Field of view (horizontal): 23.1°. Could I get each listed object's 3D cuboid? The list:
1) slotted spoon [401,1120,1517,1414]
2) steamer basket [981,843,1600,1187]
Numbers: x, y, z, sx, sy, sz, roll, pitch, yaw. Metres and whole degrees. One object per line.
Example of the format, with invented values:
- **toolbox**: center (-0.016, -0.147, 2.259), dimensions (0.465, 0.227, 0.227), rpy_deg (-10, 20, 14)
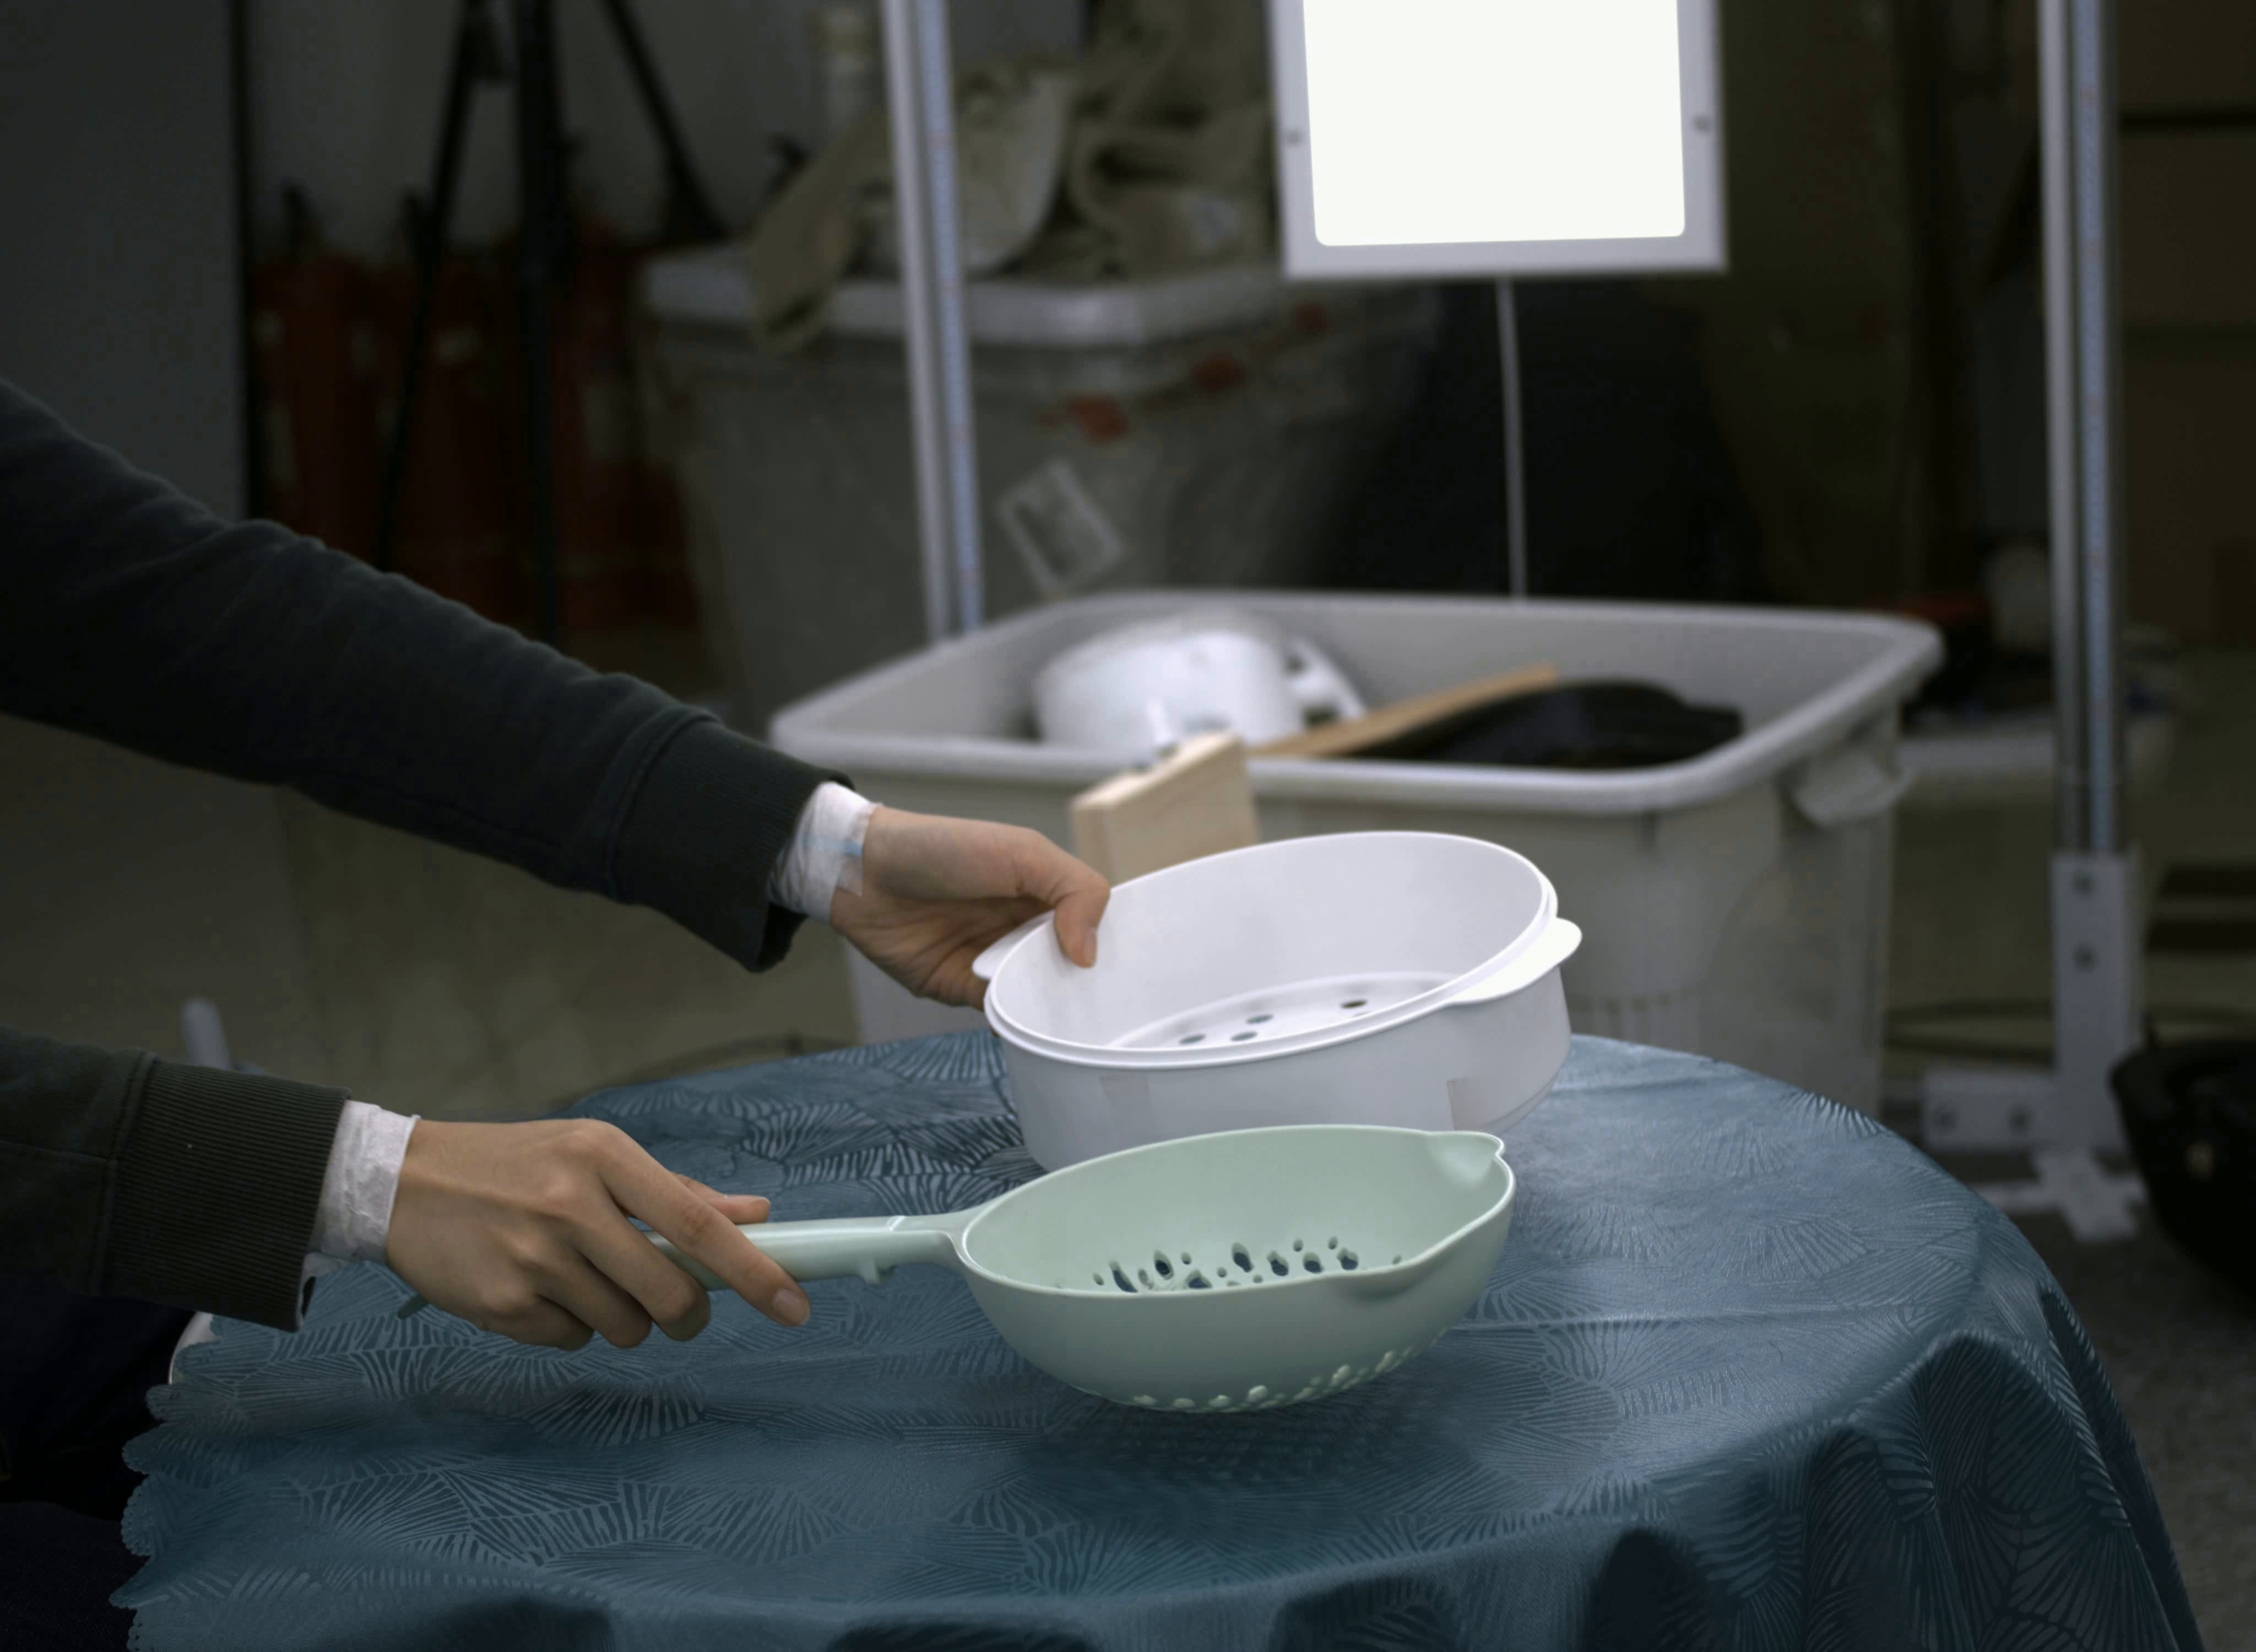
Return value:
- **slotted spoon**: center (-0.058, 0.133, 1.696), dimensions (0.362, 0.076, 0.167), rpy_deg (4, 14, 17)
- **steamer basket**: center (0.059, 0.070, 1.894), dimensions (0.235, 0.069, 0.197), rpy_deg (0, 21, 36)
